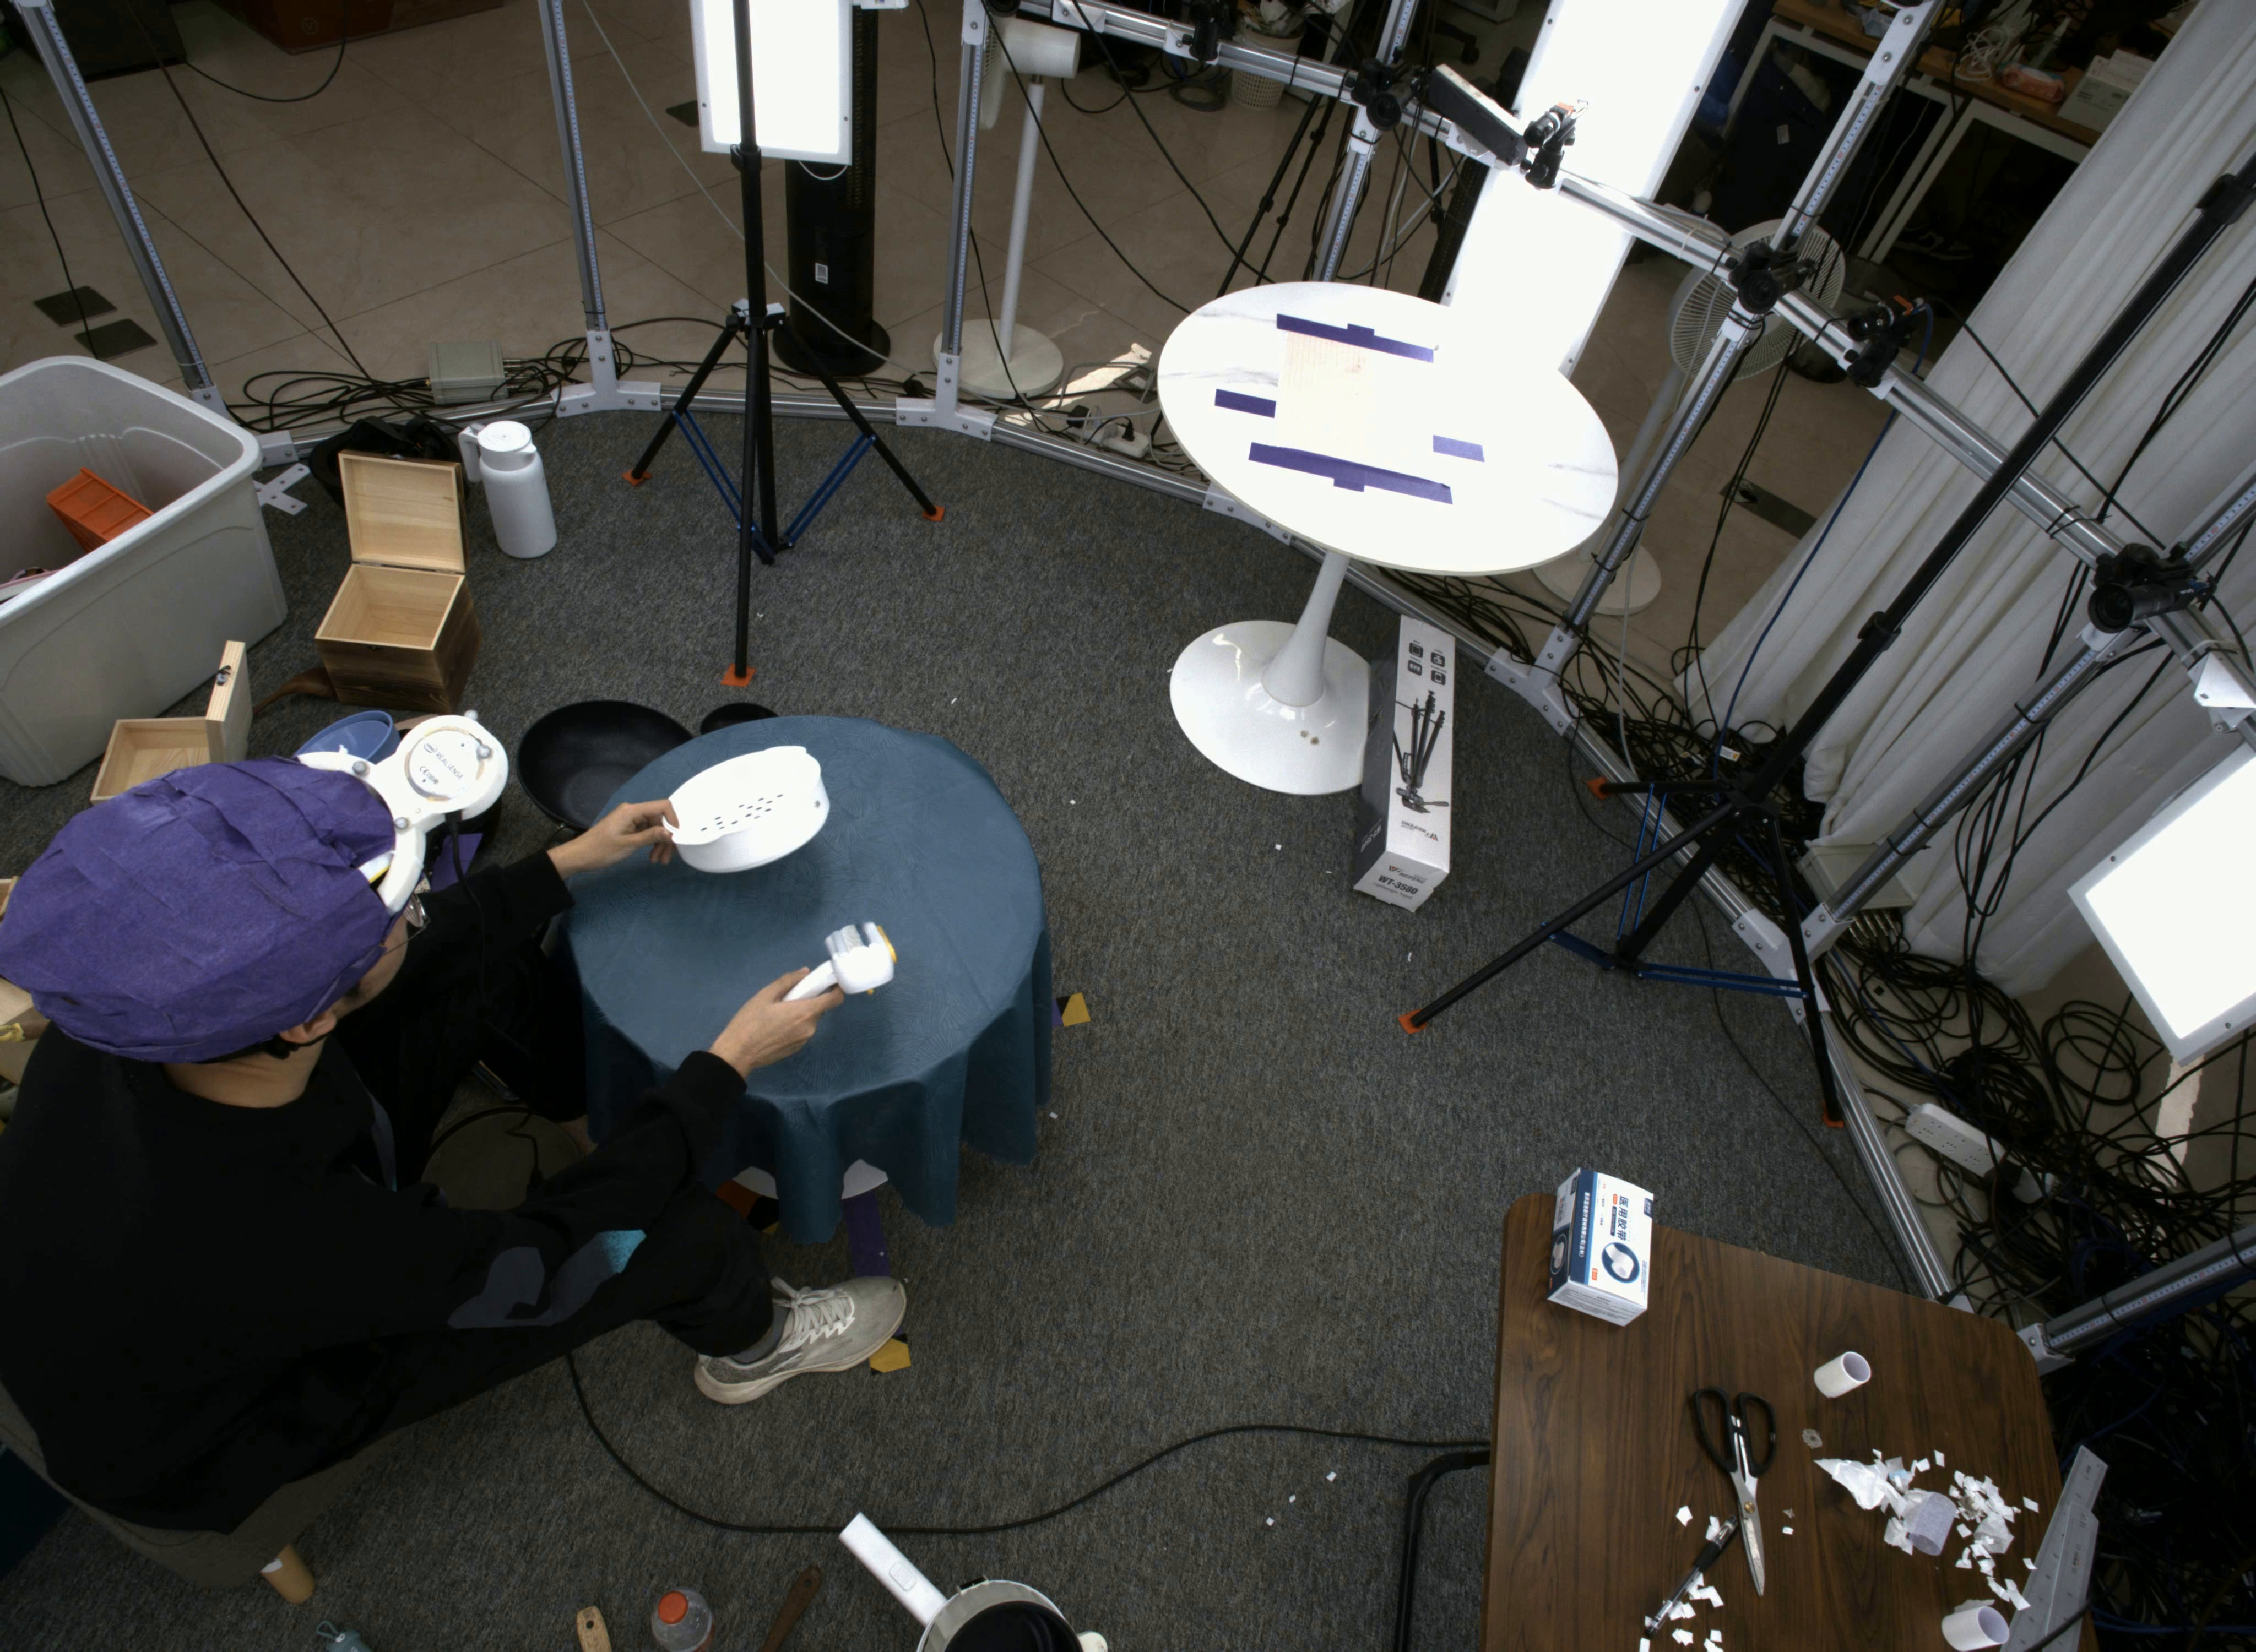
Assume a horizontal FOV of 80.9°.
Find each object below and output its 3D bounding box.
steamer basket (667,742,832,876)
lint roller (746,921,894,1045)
[{"bbox_3d":[-0.470,-0.019,1.618,0.196,0.072,0.228,1,37,22],"label":"steamer basket"},{"bbox_3d":[-0.358,0.180,1.488,0.192,0.188,0.076,-26,105,-9],"label":"lint roller"}]
